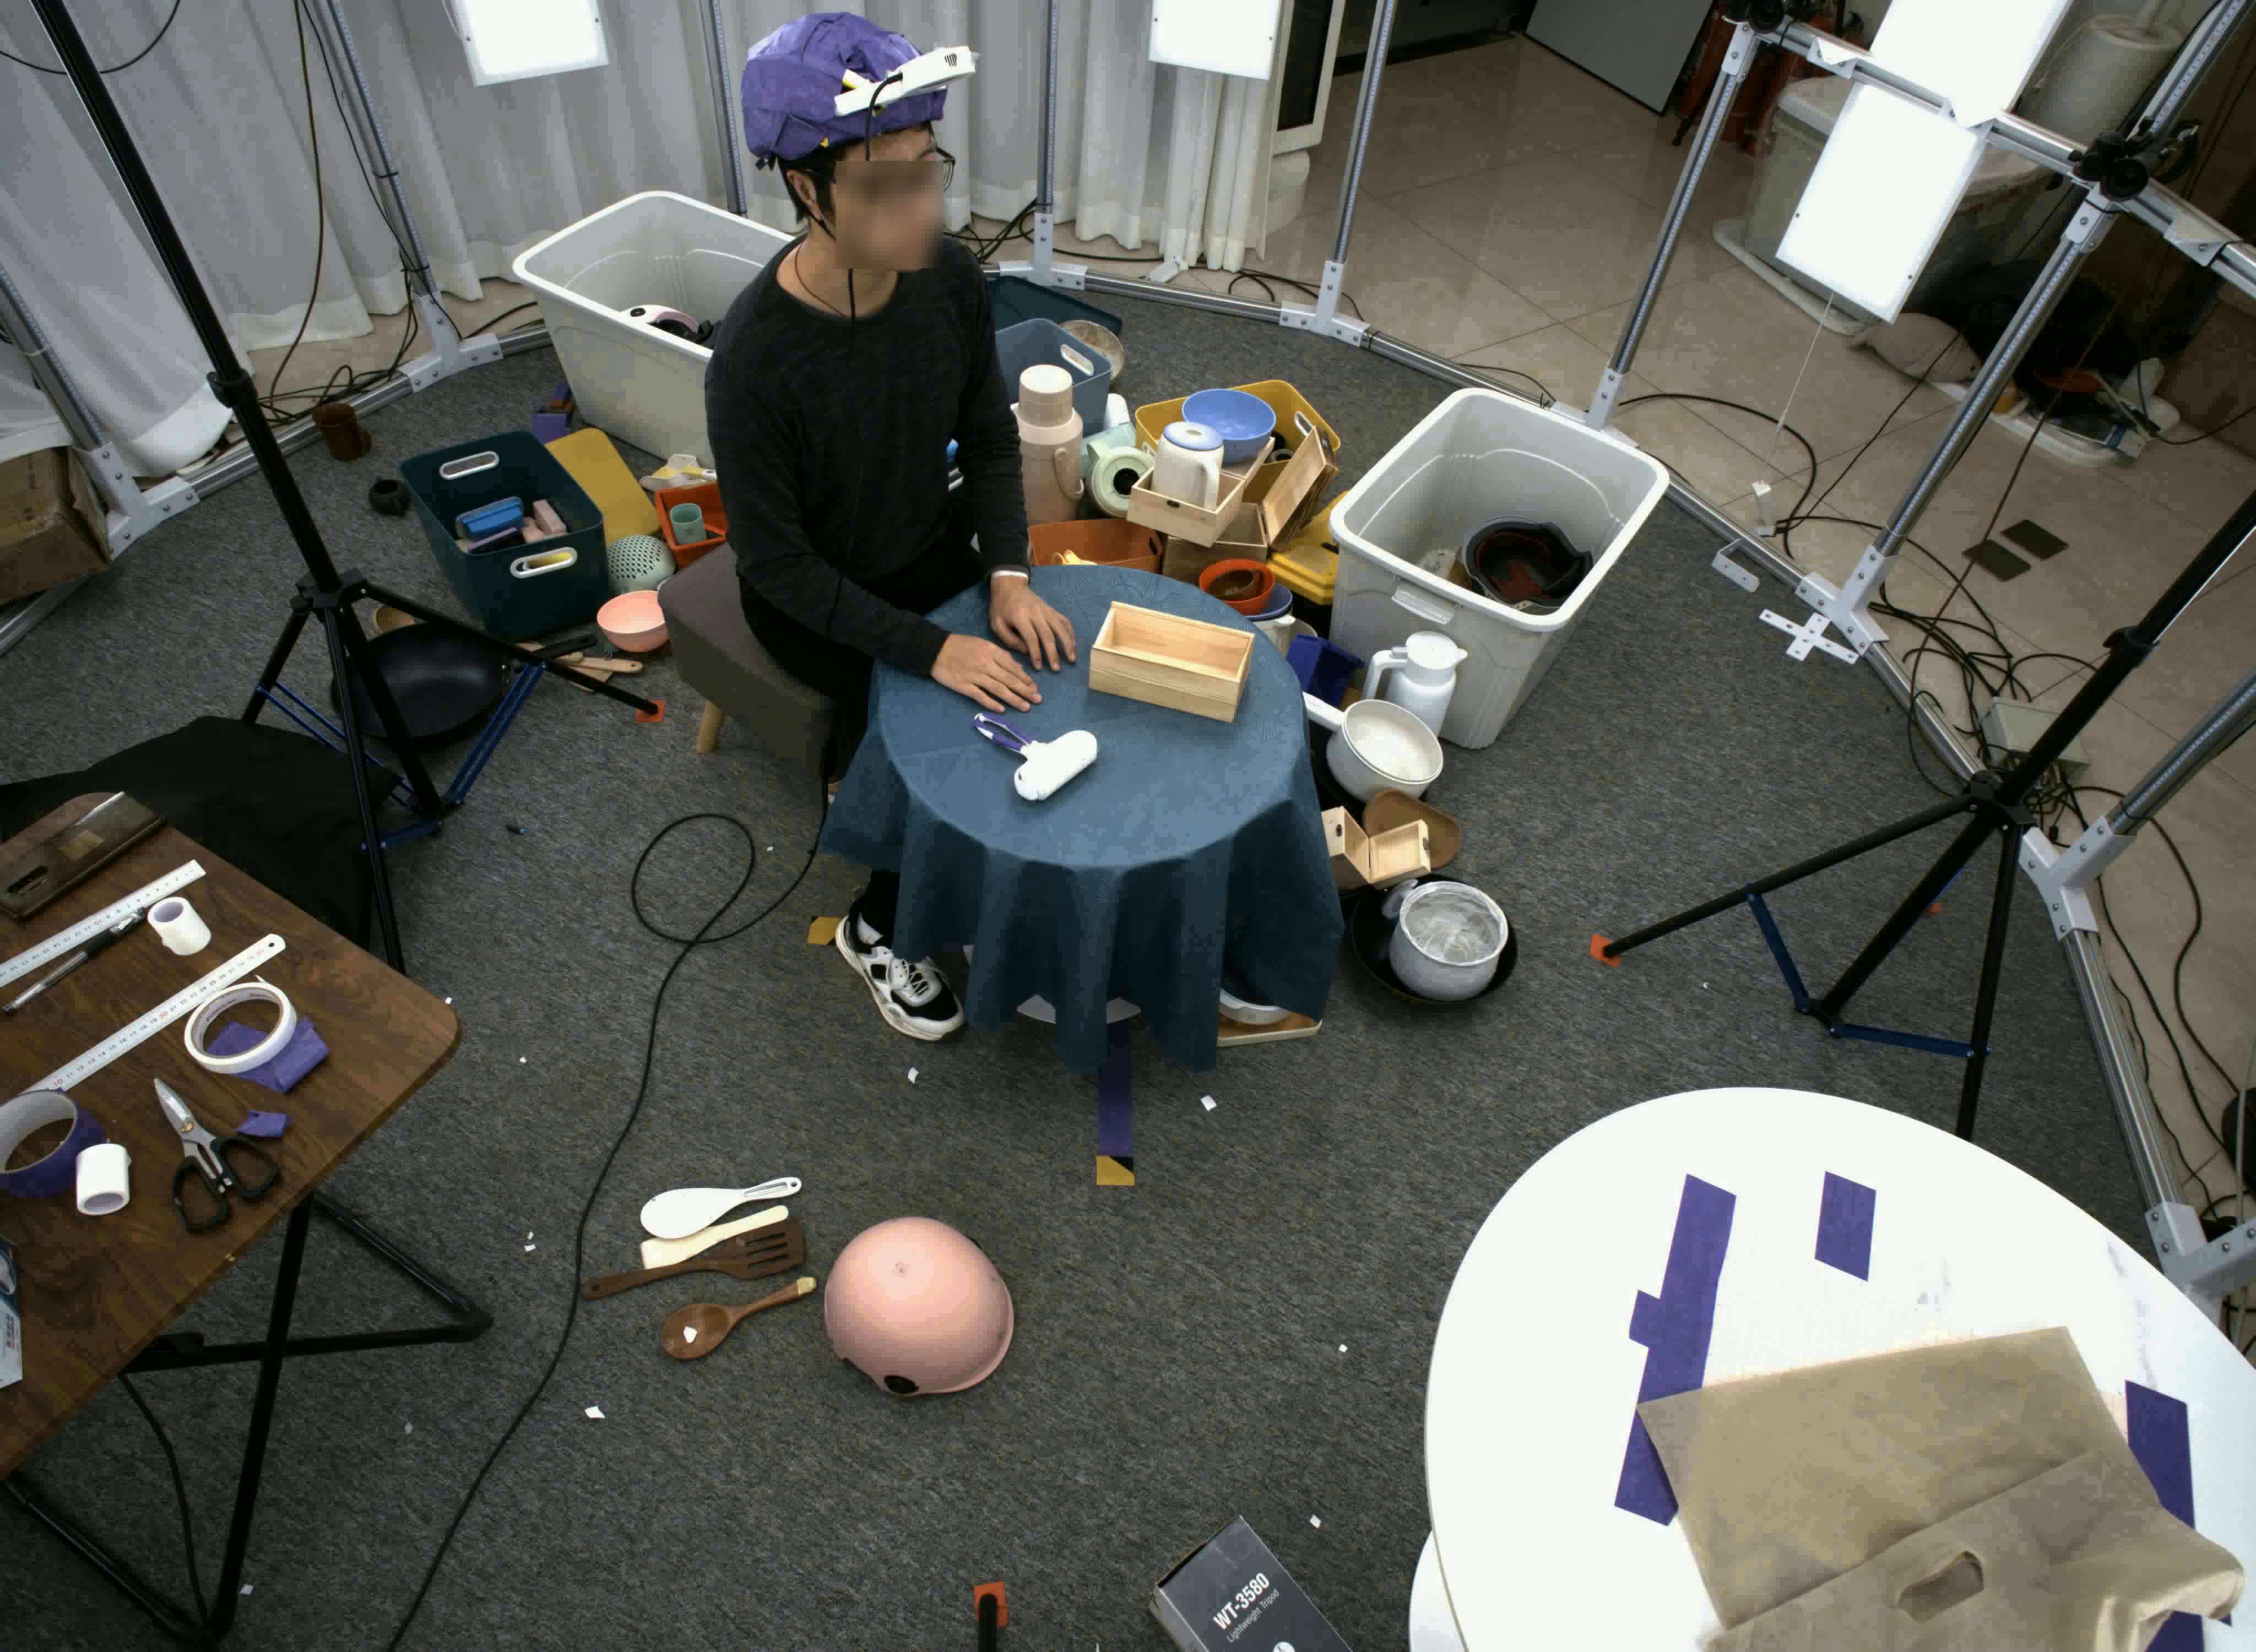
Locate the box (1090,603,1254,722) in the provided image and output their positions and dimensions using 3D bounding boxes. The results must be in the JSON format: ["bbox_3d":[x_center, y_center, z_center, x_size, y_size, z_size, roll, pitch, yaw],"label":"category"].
[{"bbox_3d":[0.062,-0.234,1.826,0.212,0.078,0.110,14,50,9],"label":"box"}]

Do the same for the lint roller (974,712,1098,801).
[{"bbox_3d":[-0.140,-0.116,1.731,0.183,0.049,0.134,38,58,24],"label":"lint roller"}]
